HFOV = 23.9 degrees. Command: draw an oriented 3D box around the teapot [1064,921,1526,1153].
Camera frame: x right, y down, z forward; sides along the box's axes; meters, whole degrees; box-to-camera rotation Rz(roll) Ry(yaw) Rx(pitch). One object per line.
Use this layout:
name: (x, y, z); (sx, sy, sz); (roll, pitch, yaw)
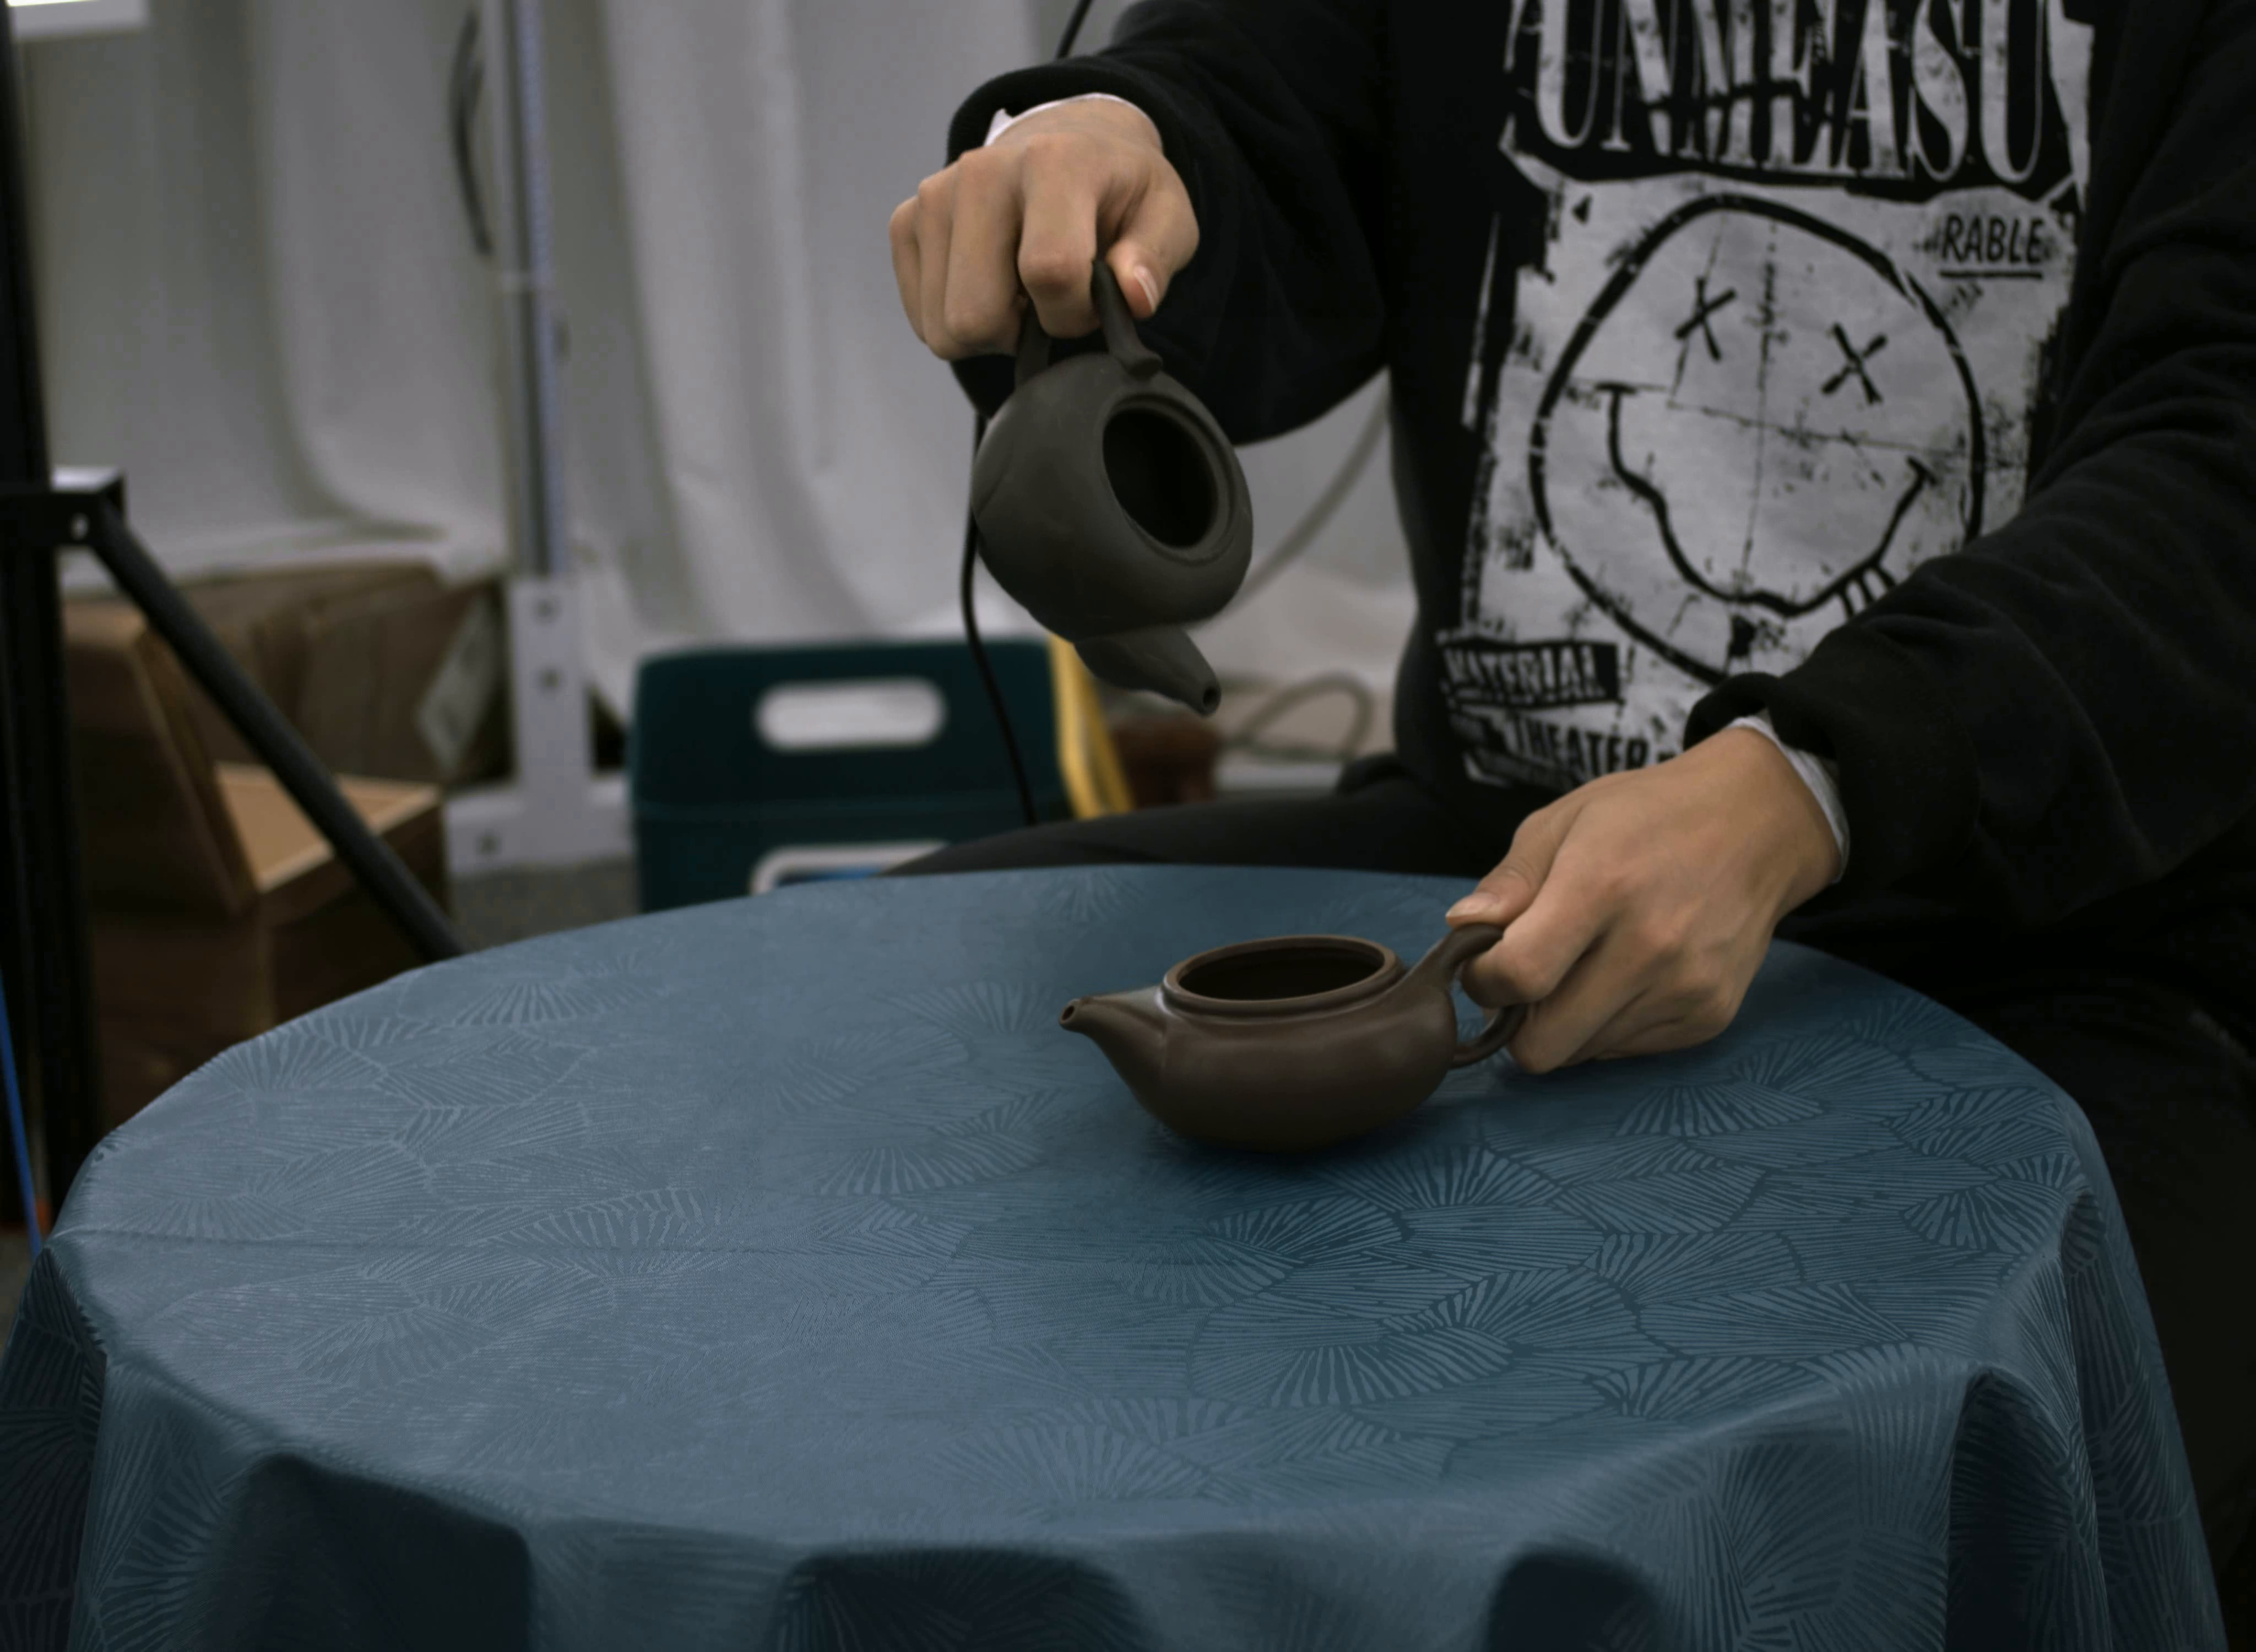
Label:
teapot: (0.052, 0.063, 1.600); (0.150, 0.054, 0.105); (-14, 19, -24)

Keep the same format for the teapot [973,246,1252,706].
teapot: (-0.006, -0.101, 1.601); (0.090, 0.156, 0.065); (6, -26, -45)
